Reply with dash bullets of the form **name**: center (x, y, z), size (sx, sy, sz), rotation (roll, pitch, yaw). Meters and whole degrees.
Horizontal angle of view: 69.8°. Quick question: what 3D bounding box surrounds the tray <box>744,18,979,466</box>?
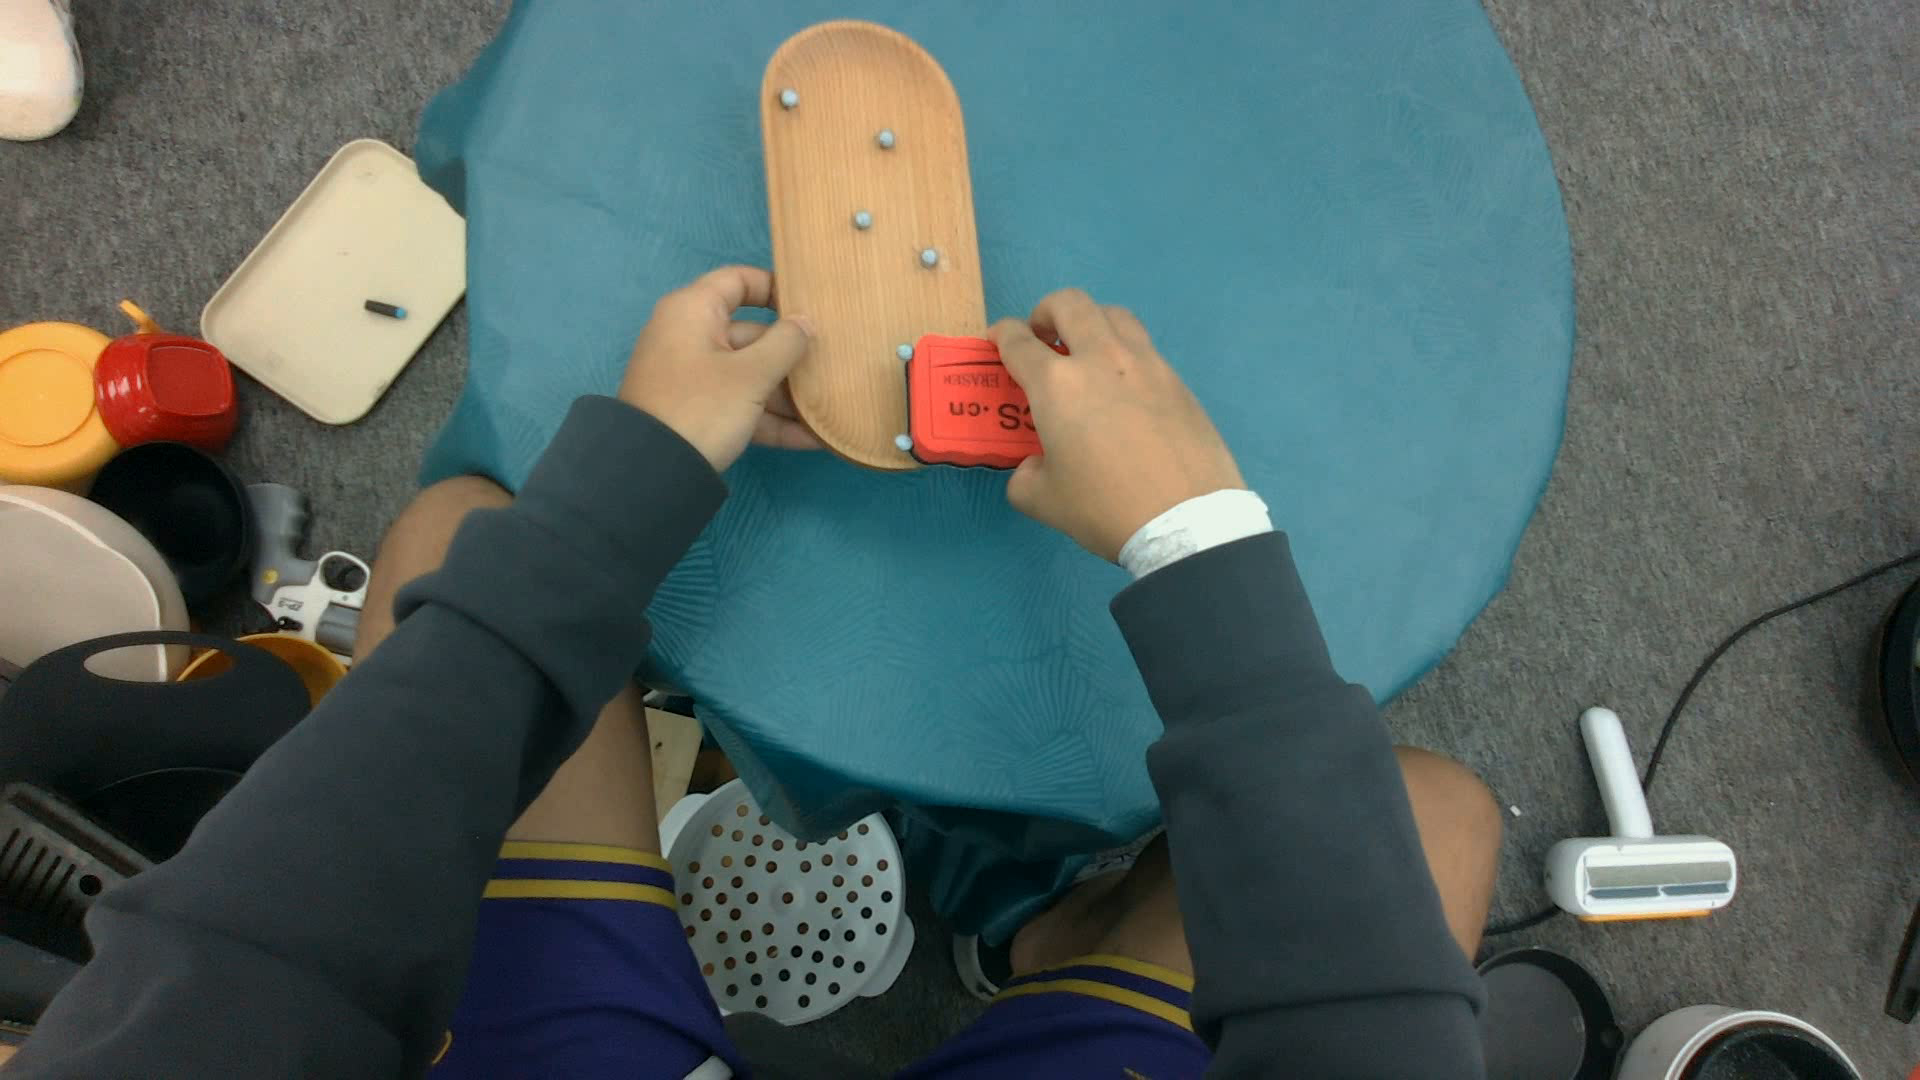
- **tray**: center (-0.047, -0.146, 0.661), size (0.102, 0.020, 0.231), rotation (-4, 77, -18)

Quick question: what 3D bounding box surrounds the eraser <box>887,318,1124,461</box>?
- **eraser**: center (0.021, -0.070, 0.642), size (0.108, 0.023, 0.059), rotation (3, 65, -19)
